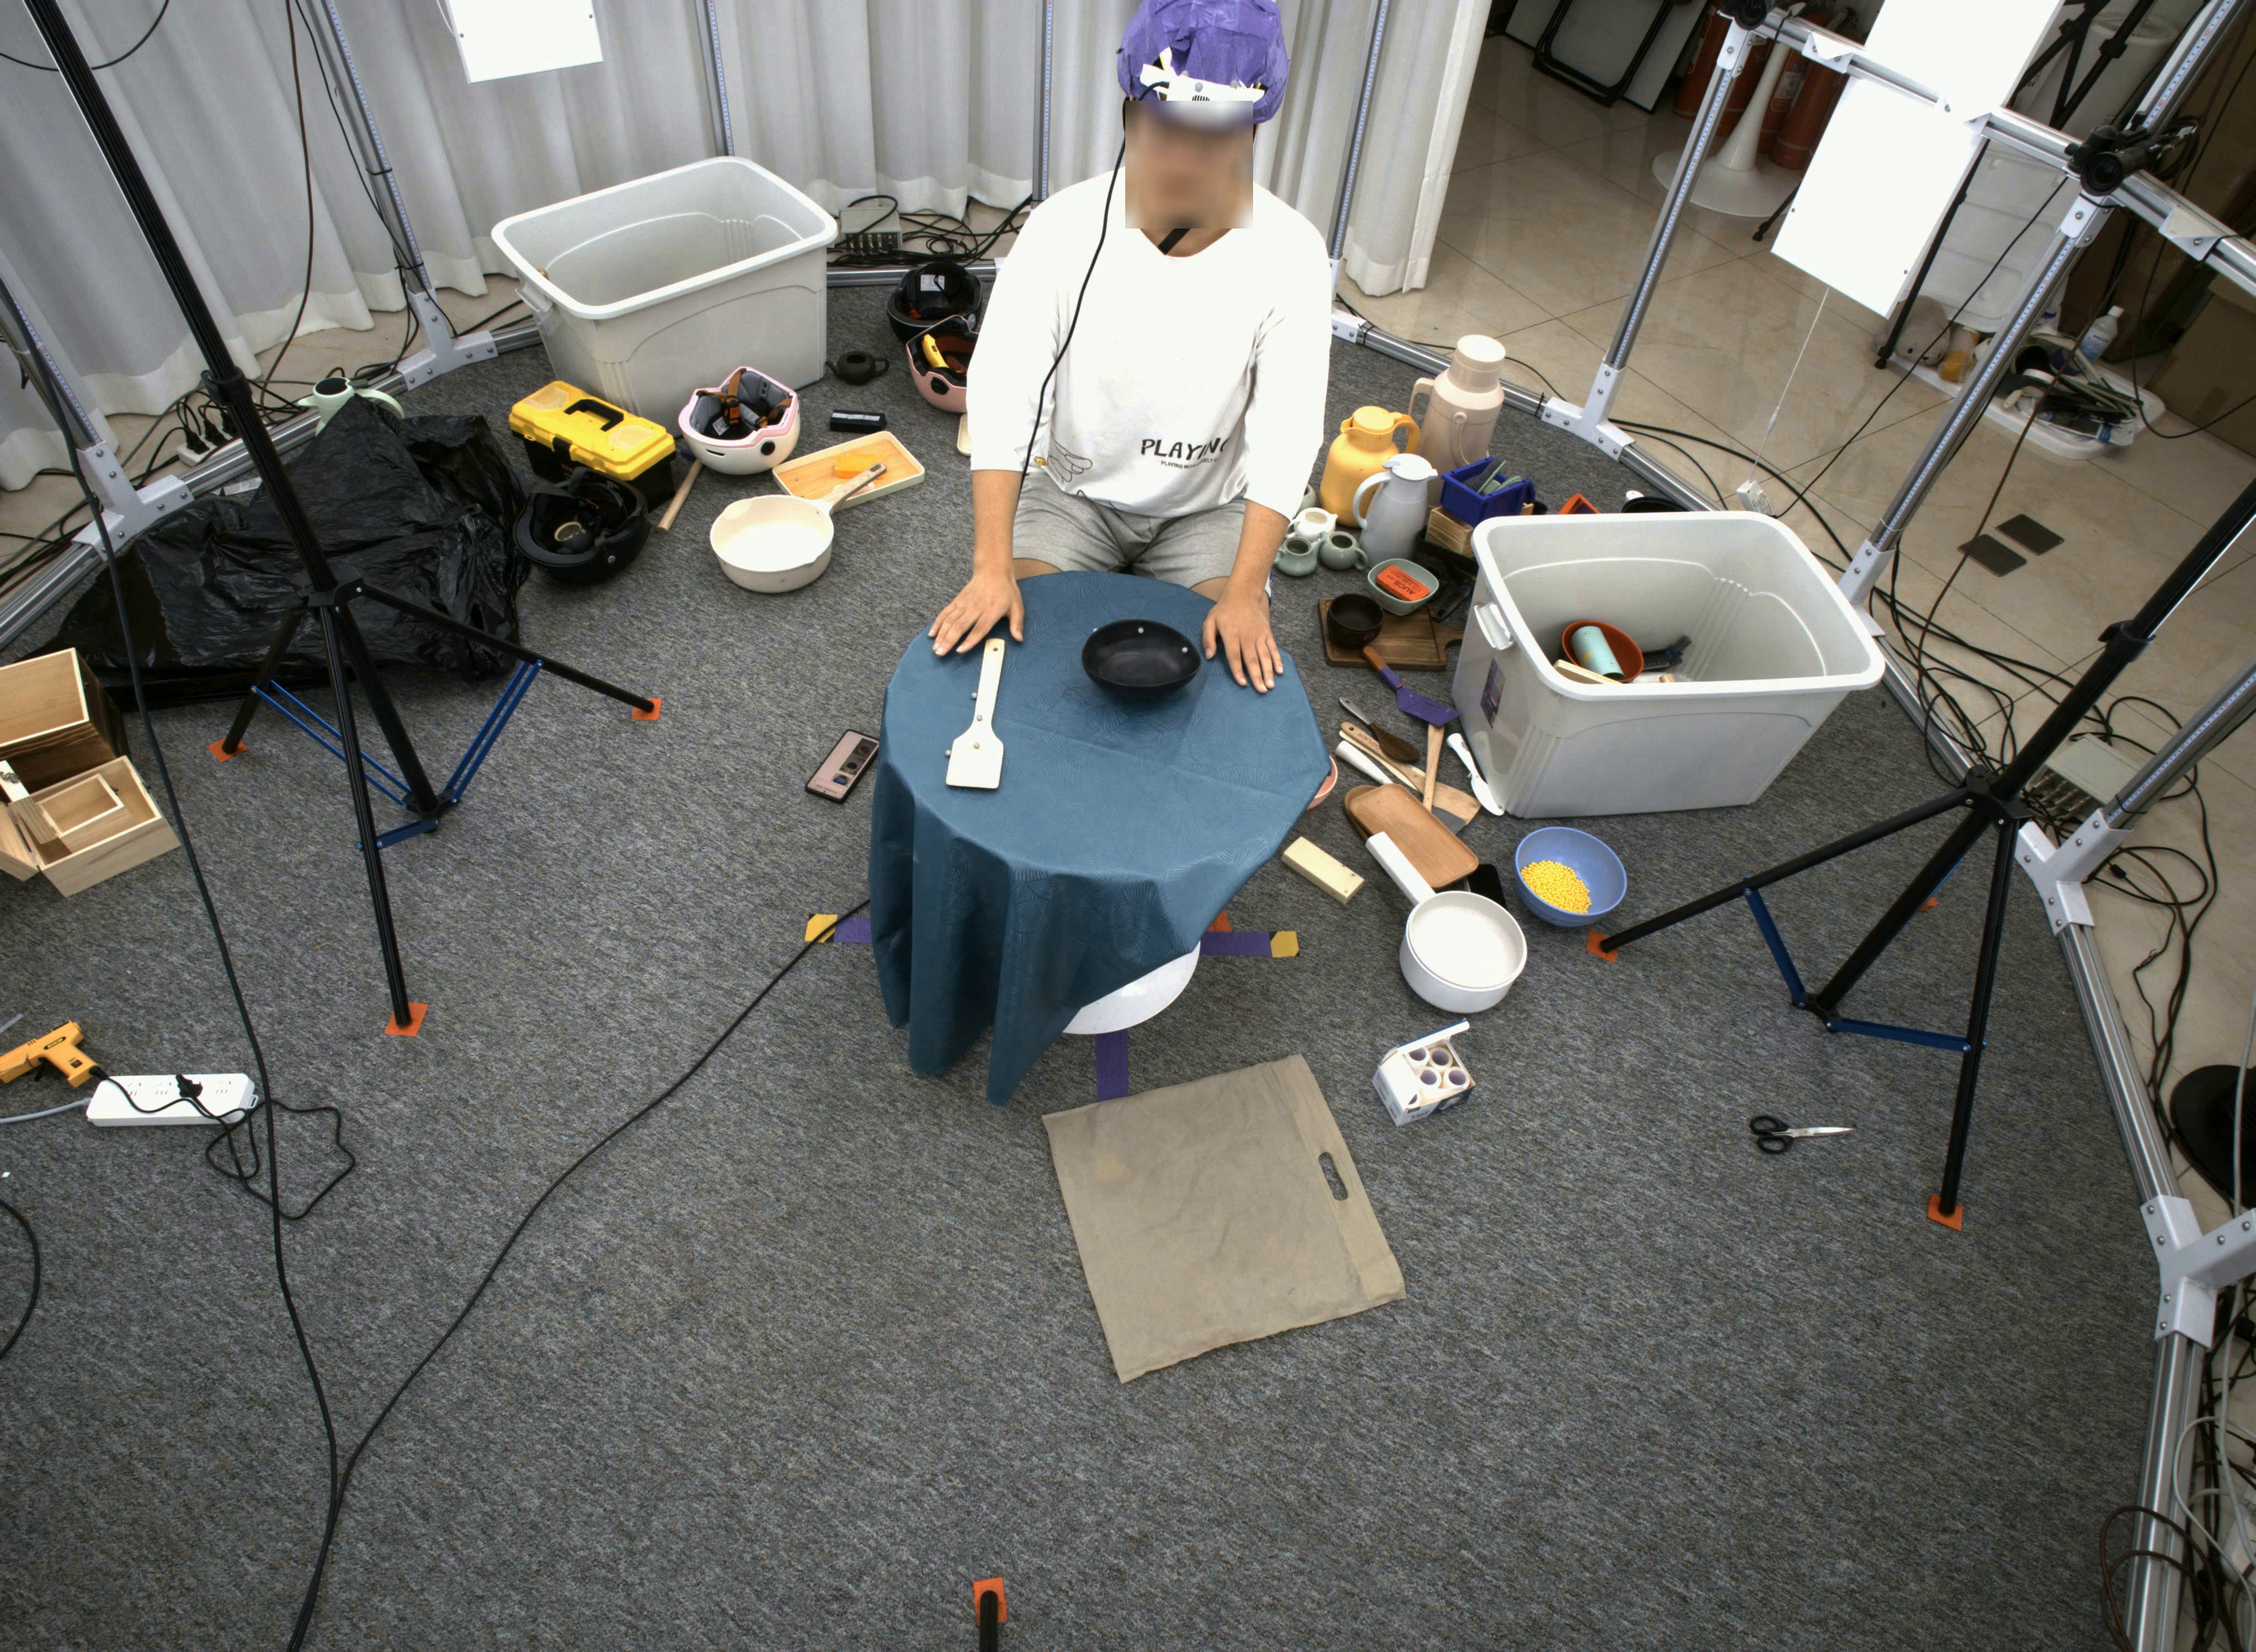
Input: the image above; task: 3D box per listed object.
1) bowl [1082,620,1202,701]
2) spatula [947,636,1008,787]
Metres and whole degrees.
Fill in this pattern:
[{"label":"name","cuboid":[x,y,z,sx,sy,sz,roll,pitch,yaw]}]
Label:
[{"label":"bowl","cuboid":[0.018,-0.225,1.820,0.170,0.065,0.141,-3,49,-10]},{"label":"spatula","cuboid":[-0.198,-0.165,1.787,0.072,0.010,0.300,3,49,0]}]
